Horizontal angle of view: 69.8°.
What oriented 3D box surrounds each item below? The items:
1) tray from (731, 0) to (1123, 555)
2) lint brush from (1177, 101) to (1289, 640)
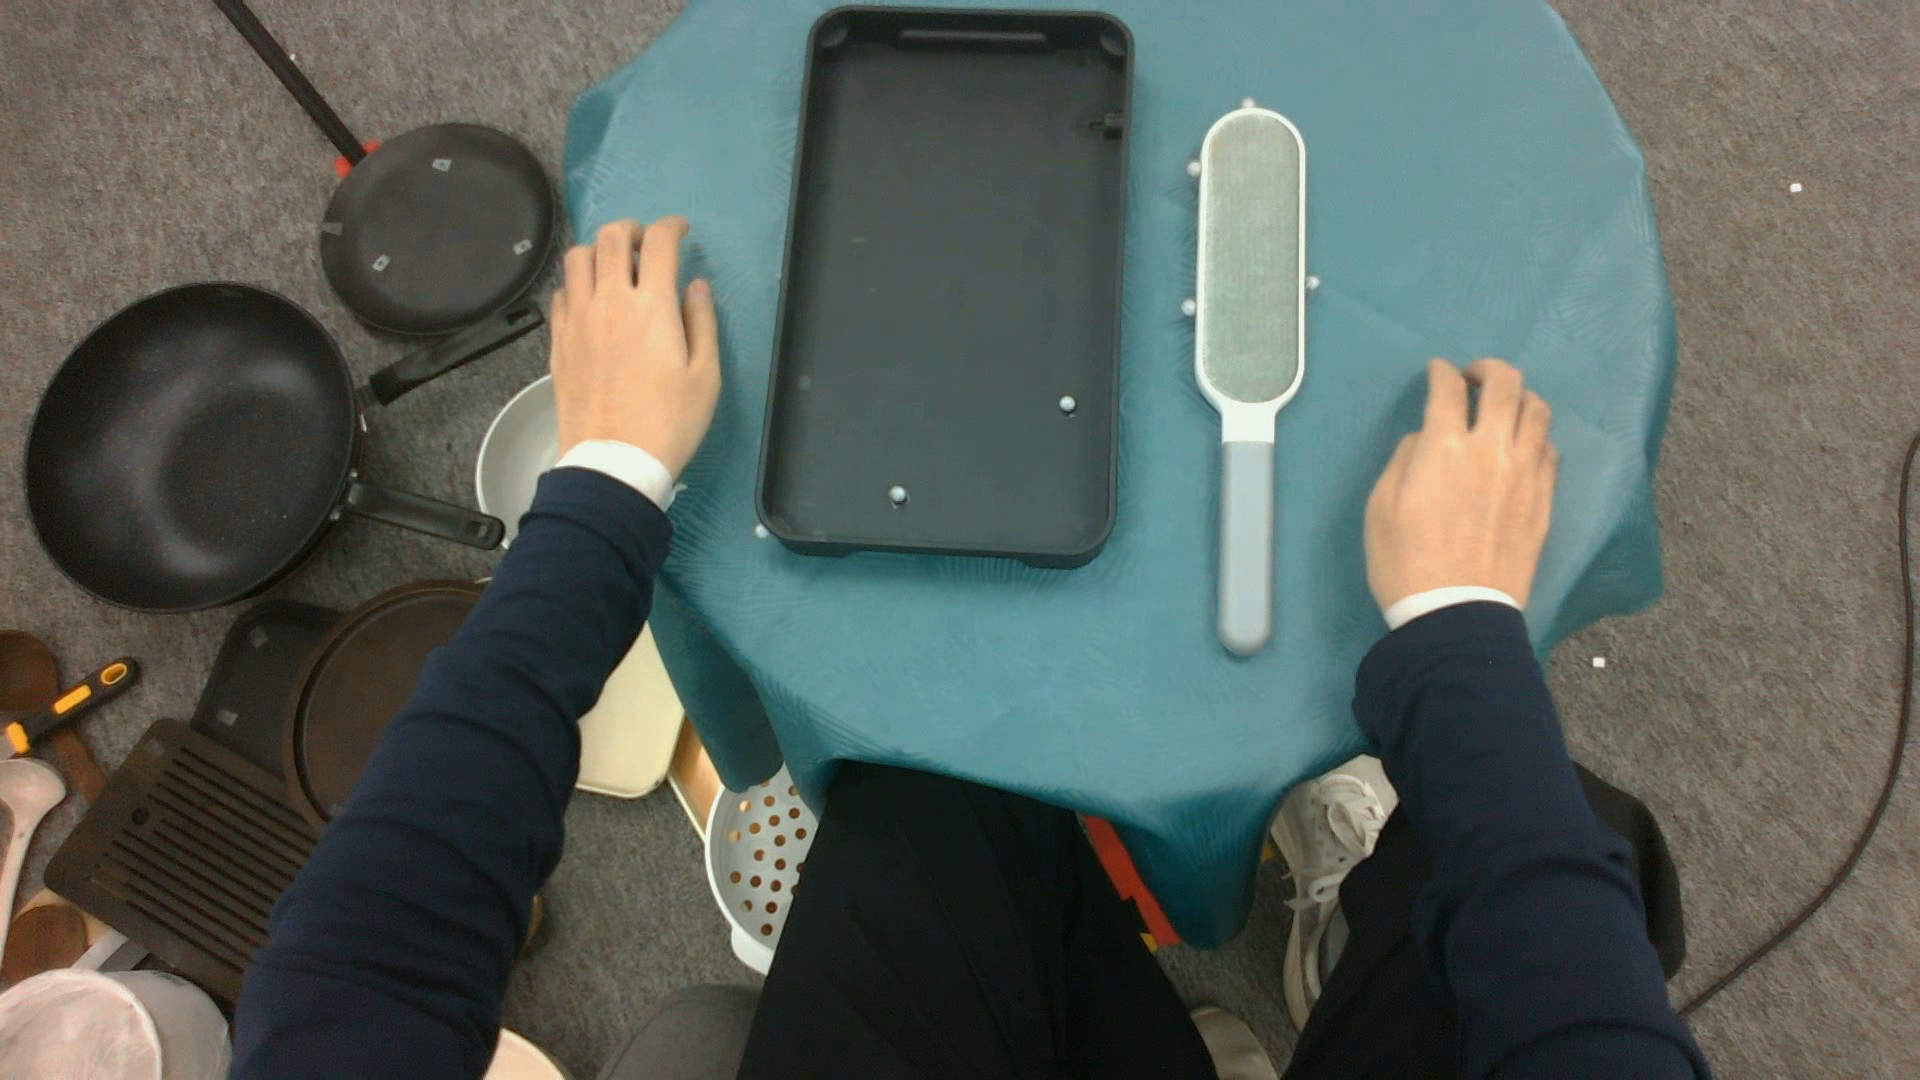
[{"bbox_3d":[-0.012,-0.150,0.746,0.184,0.037,0.319,4,72,3],"label":"tray"},{"bbox_3d":[0.143,-0.098,0.728,0.060,0.021,0.310,5,72,-2],"label":"lint brush"}]
